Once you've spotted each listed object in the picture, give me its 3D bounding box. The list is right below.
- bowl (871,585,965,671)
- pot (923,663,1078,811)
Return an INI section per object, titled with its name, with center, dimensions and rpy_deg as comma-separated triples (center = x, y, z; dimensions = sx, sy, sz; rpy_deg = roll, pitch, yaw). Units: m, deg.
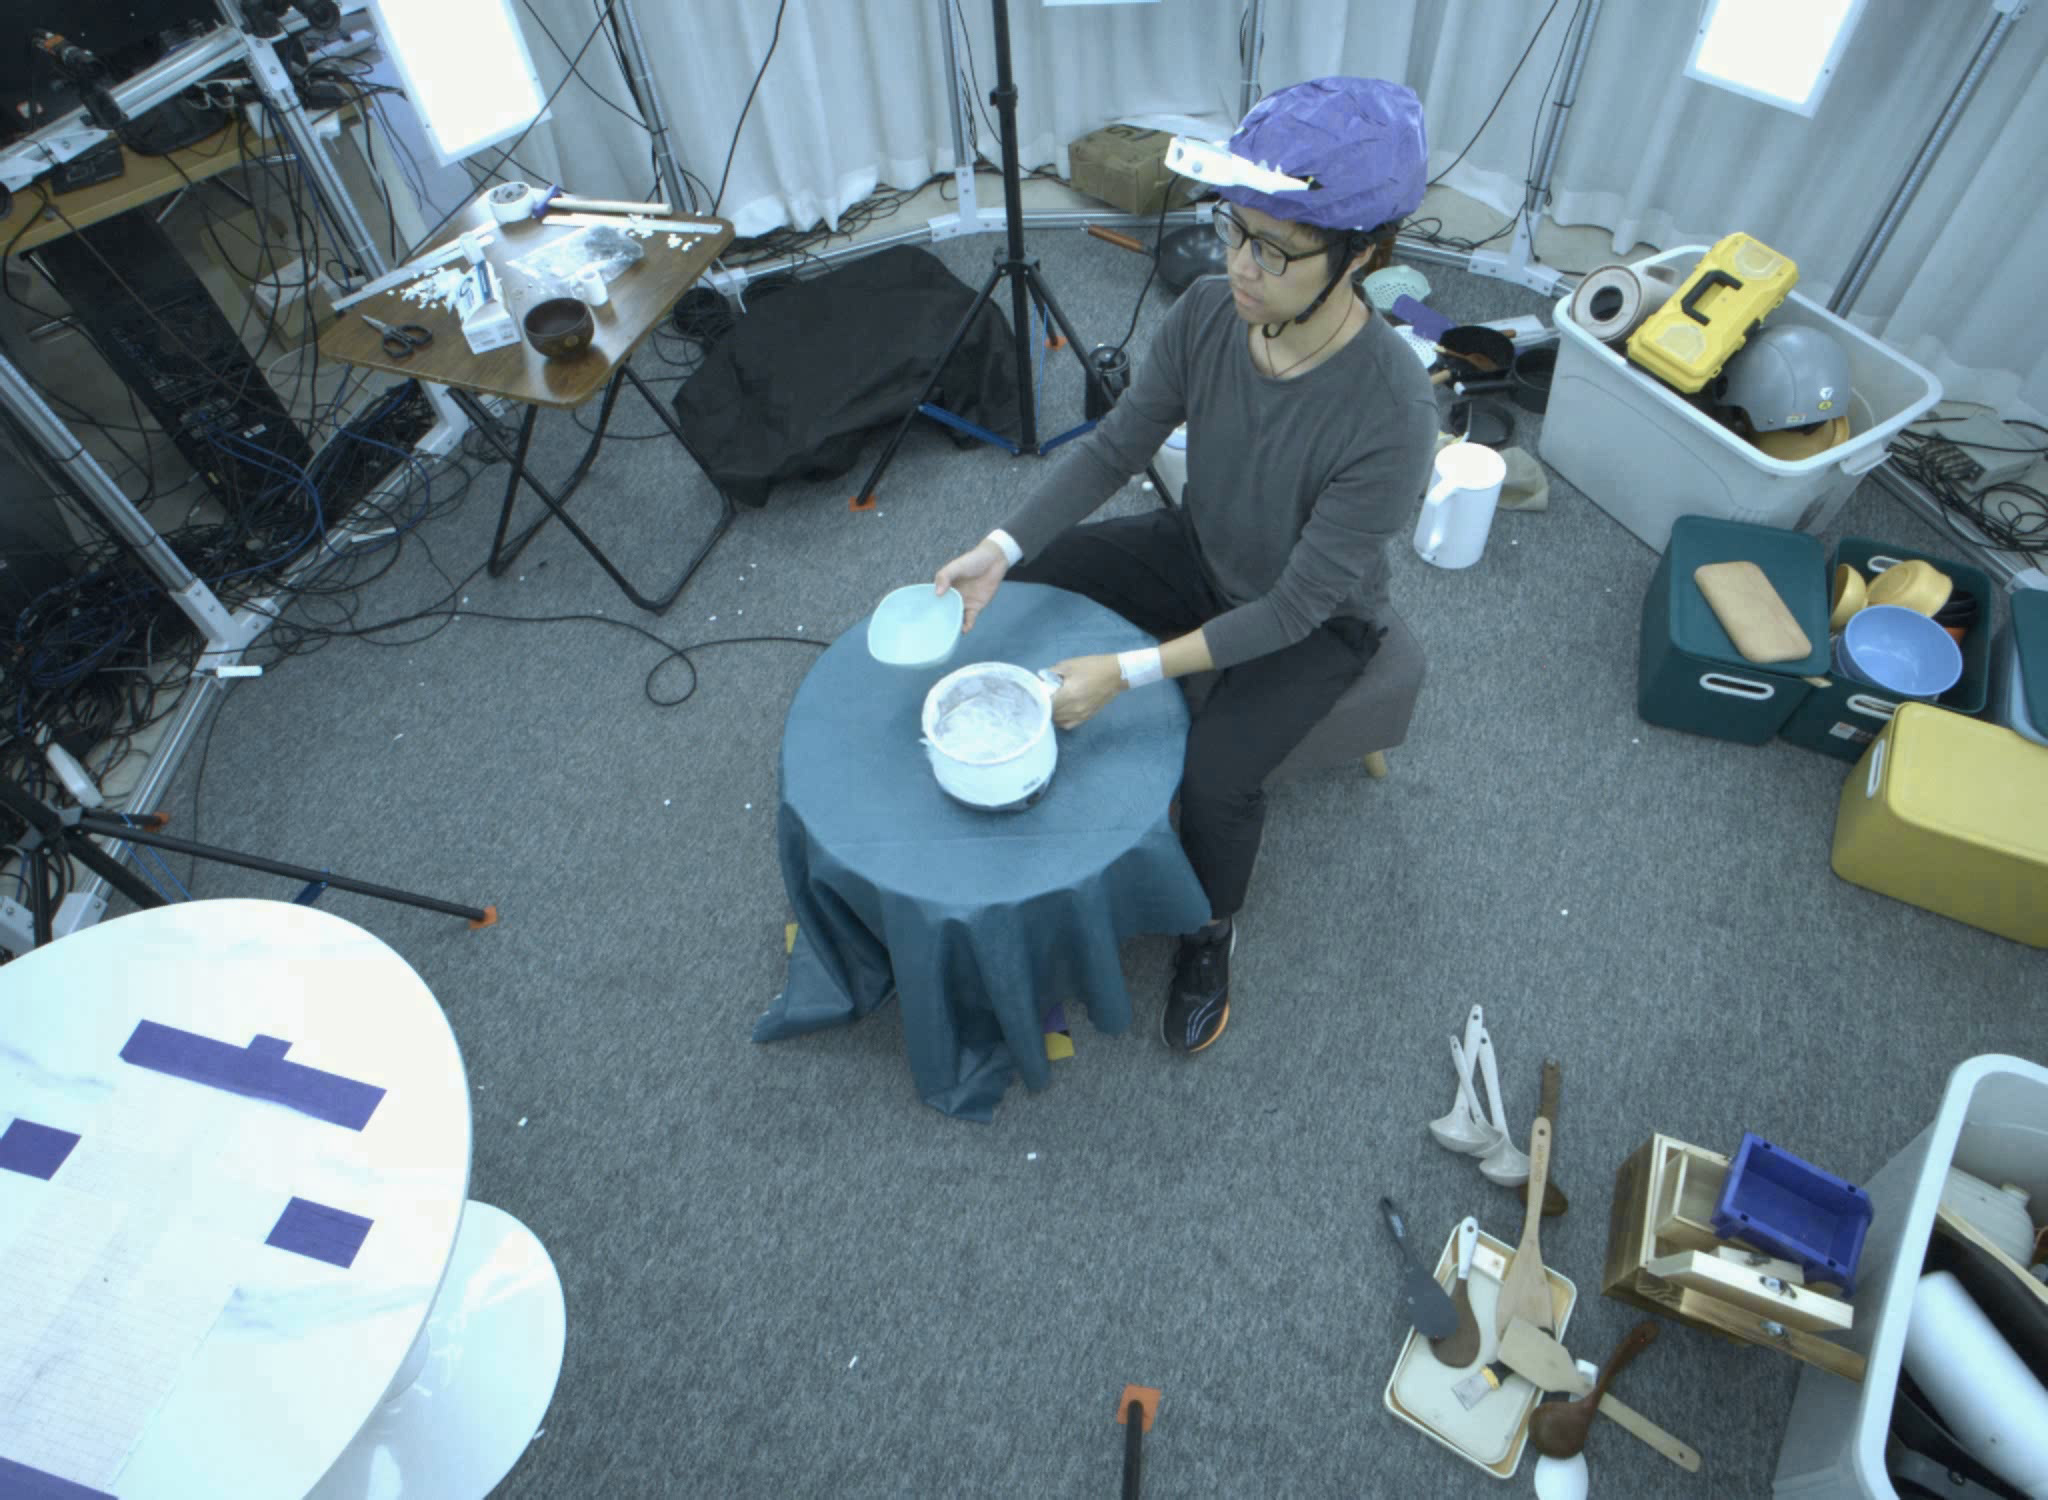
[bowl]
center = -0.144, -0.164, 1.761
dimensions = 0.150, 0.060, 0.150
rpy_deg = -7, 60, 14
[pot]
center = -0.023, -0.028, 1.731
dimensions = 0.235, 0.138, 0.175
rpy_deg = -35, 59, -21
